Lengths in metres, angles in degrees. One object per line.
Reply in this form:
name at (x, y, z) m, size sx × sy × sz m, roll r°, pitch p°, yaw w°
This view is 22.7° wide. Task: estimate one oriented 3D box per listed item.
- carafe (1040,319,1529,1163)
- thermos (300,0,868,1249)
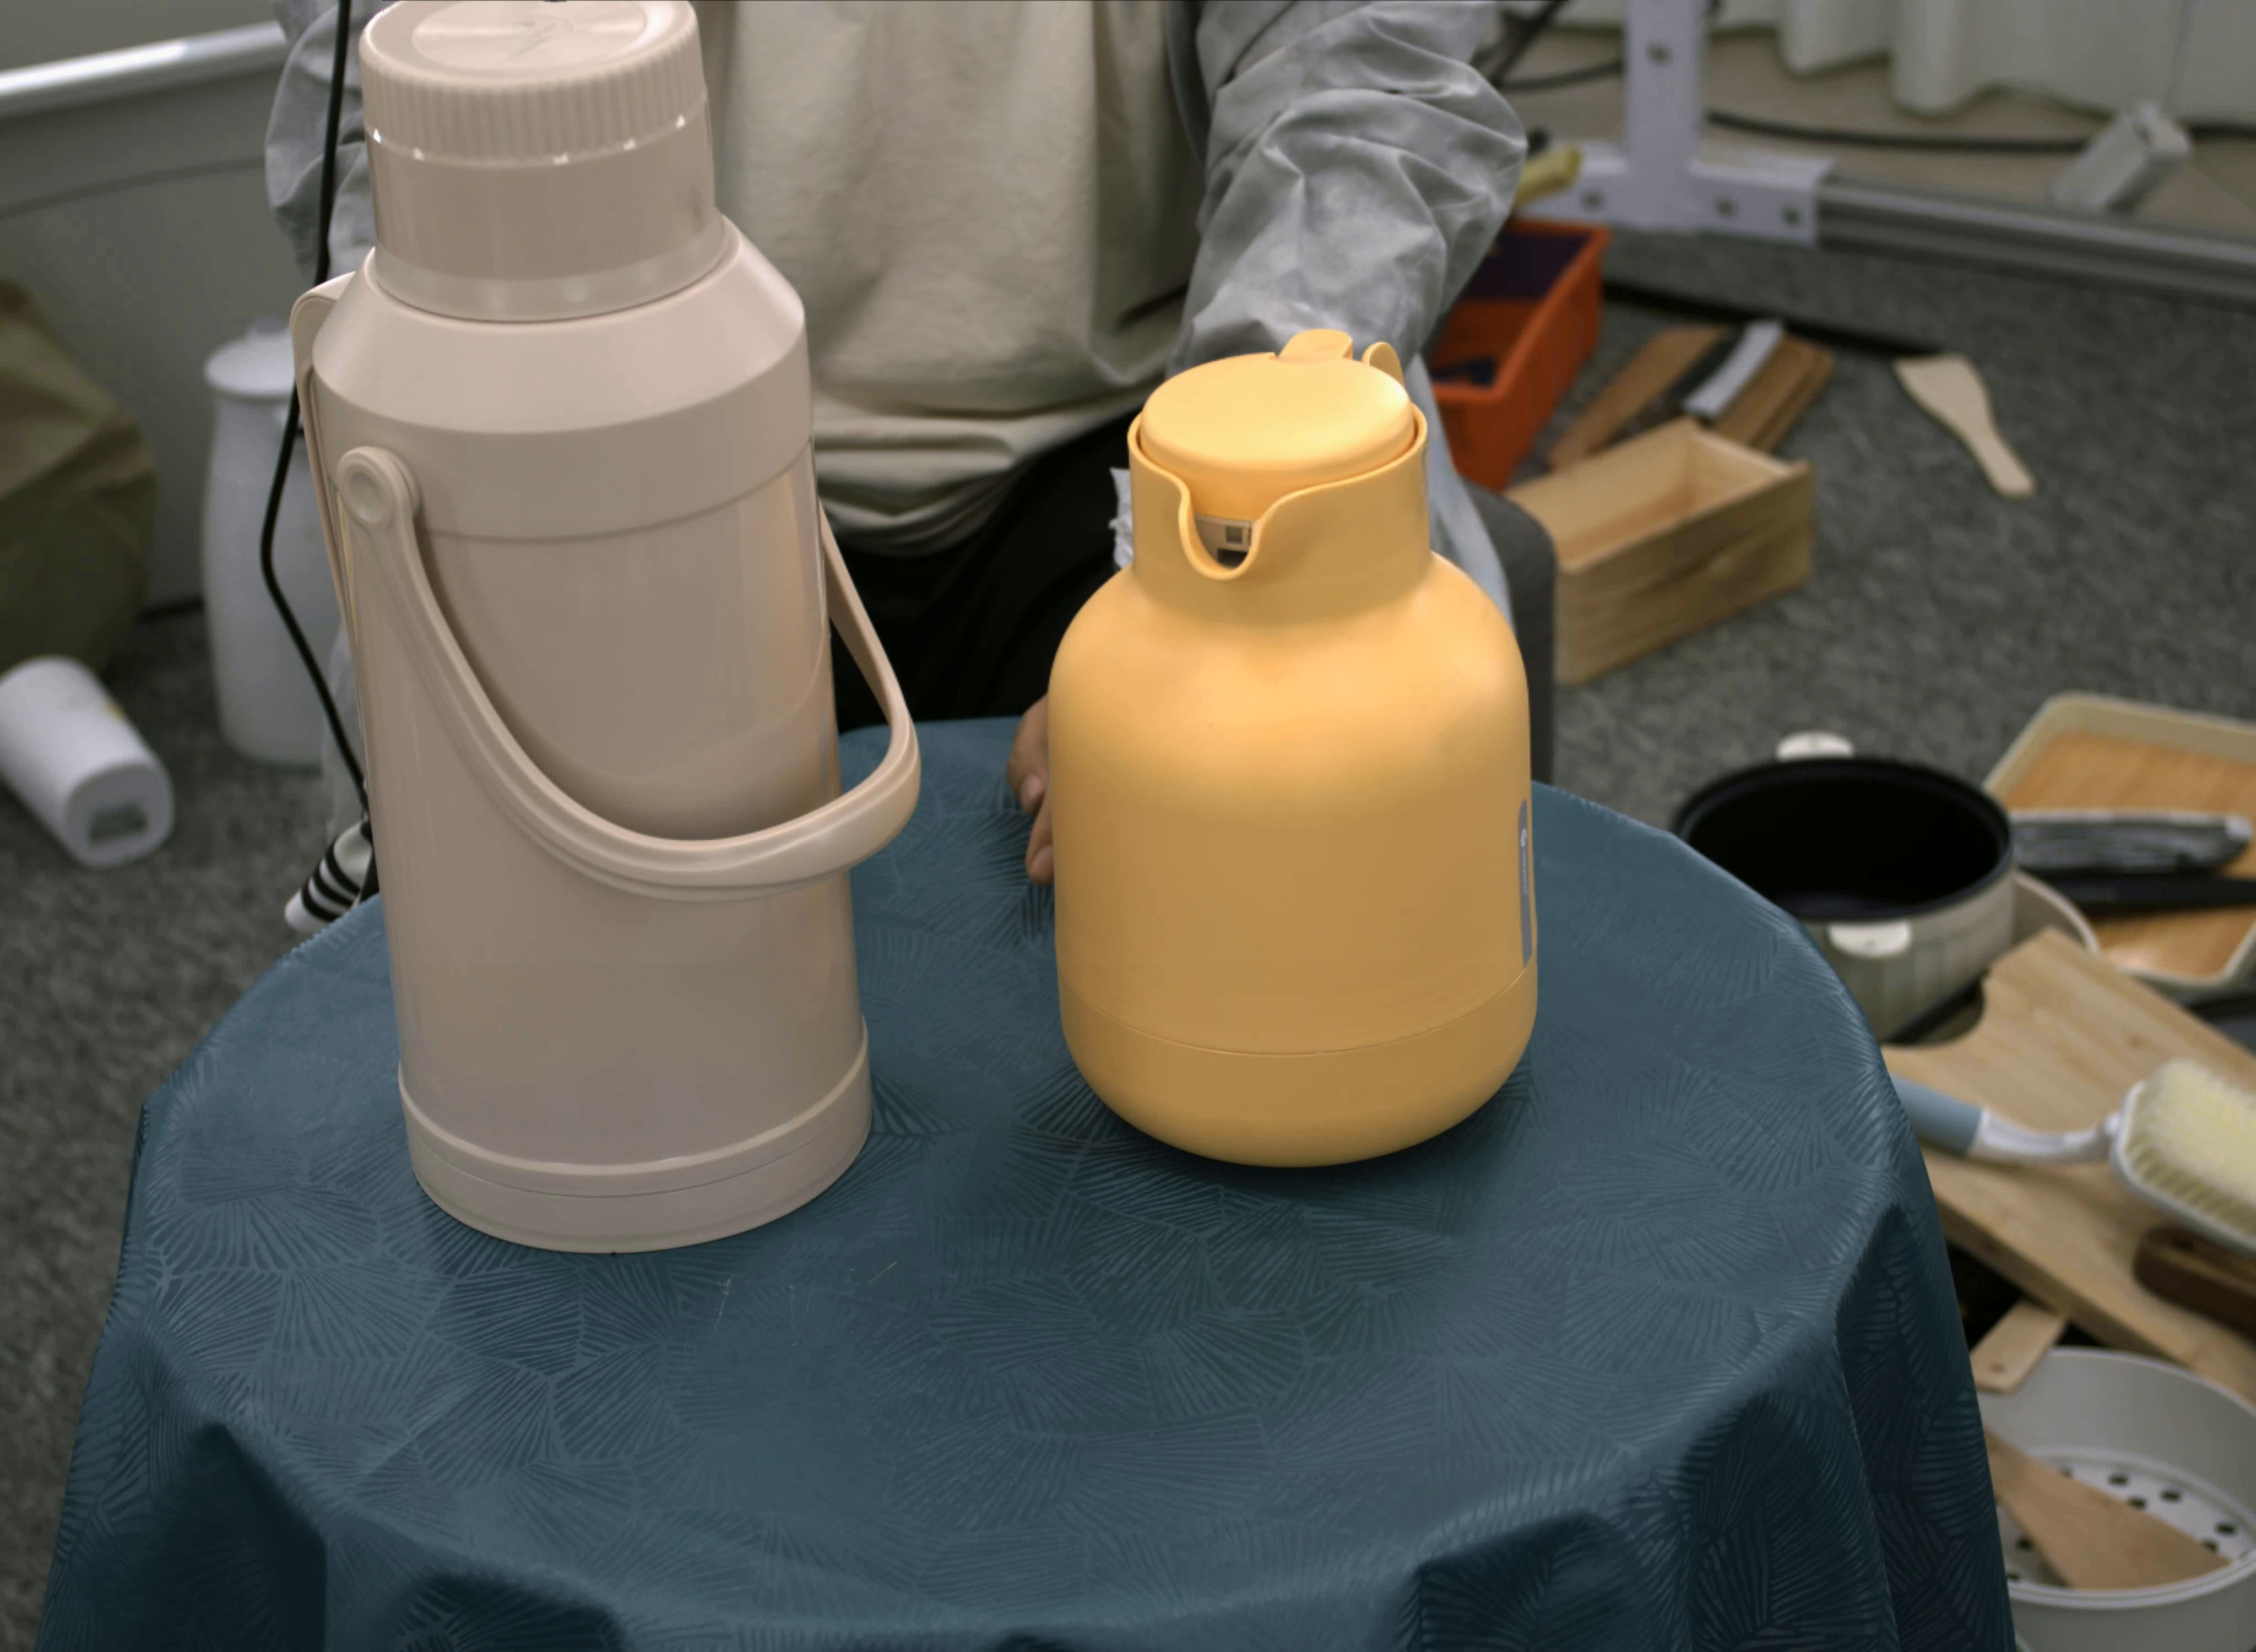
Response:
carafe at (0.059, -0.037, 1.881) m, size 0.162 × 0.257 × 0.206 m, roll 8°, pitch 30°, yaw 16°
thermos at (-0.185, -0.076, 1.834) m, size 0.206 × 0.402 × 0.178 m, roll 19°, pitch 34°, yaw 36°
